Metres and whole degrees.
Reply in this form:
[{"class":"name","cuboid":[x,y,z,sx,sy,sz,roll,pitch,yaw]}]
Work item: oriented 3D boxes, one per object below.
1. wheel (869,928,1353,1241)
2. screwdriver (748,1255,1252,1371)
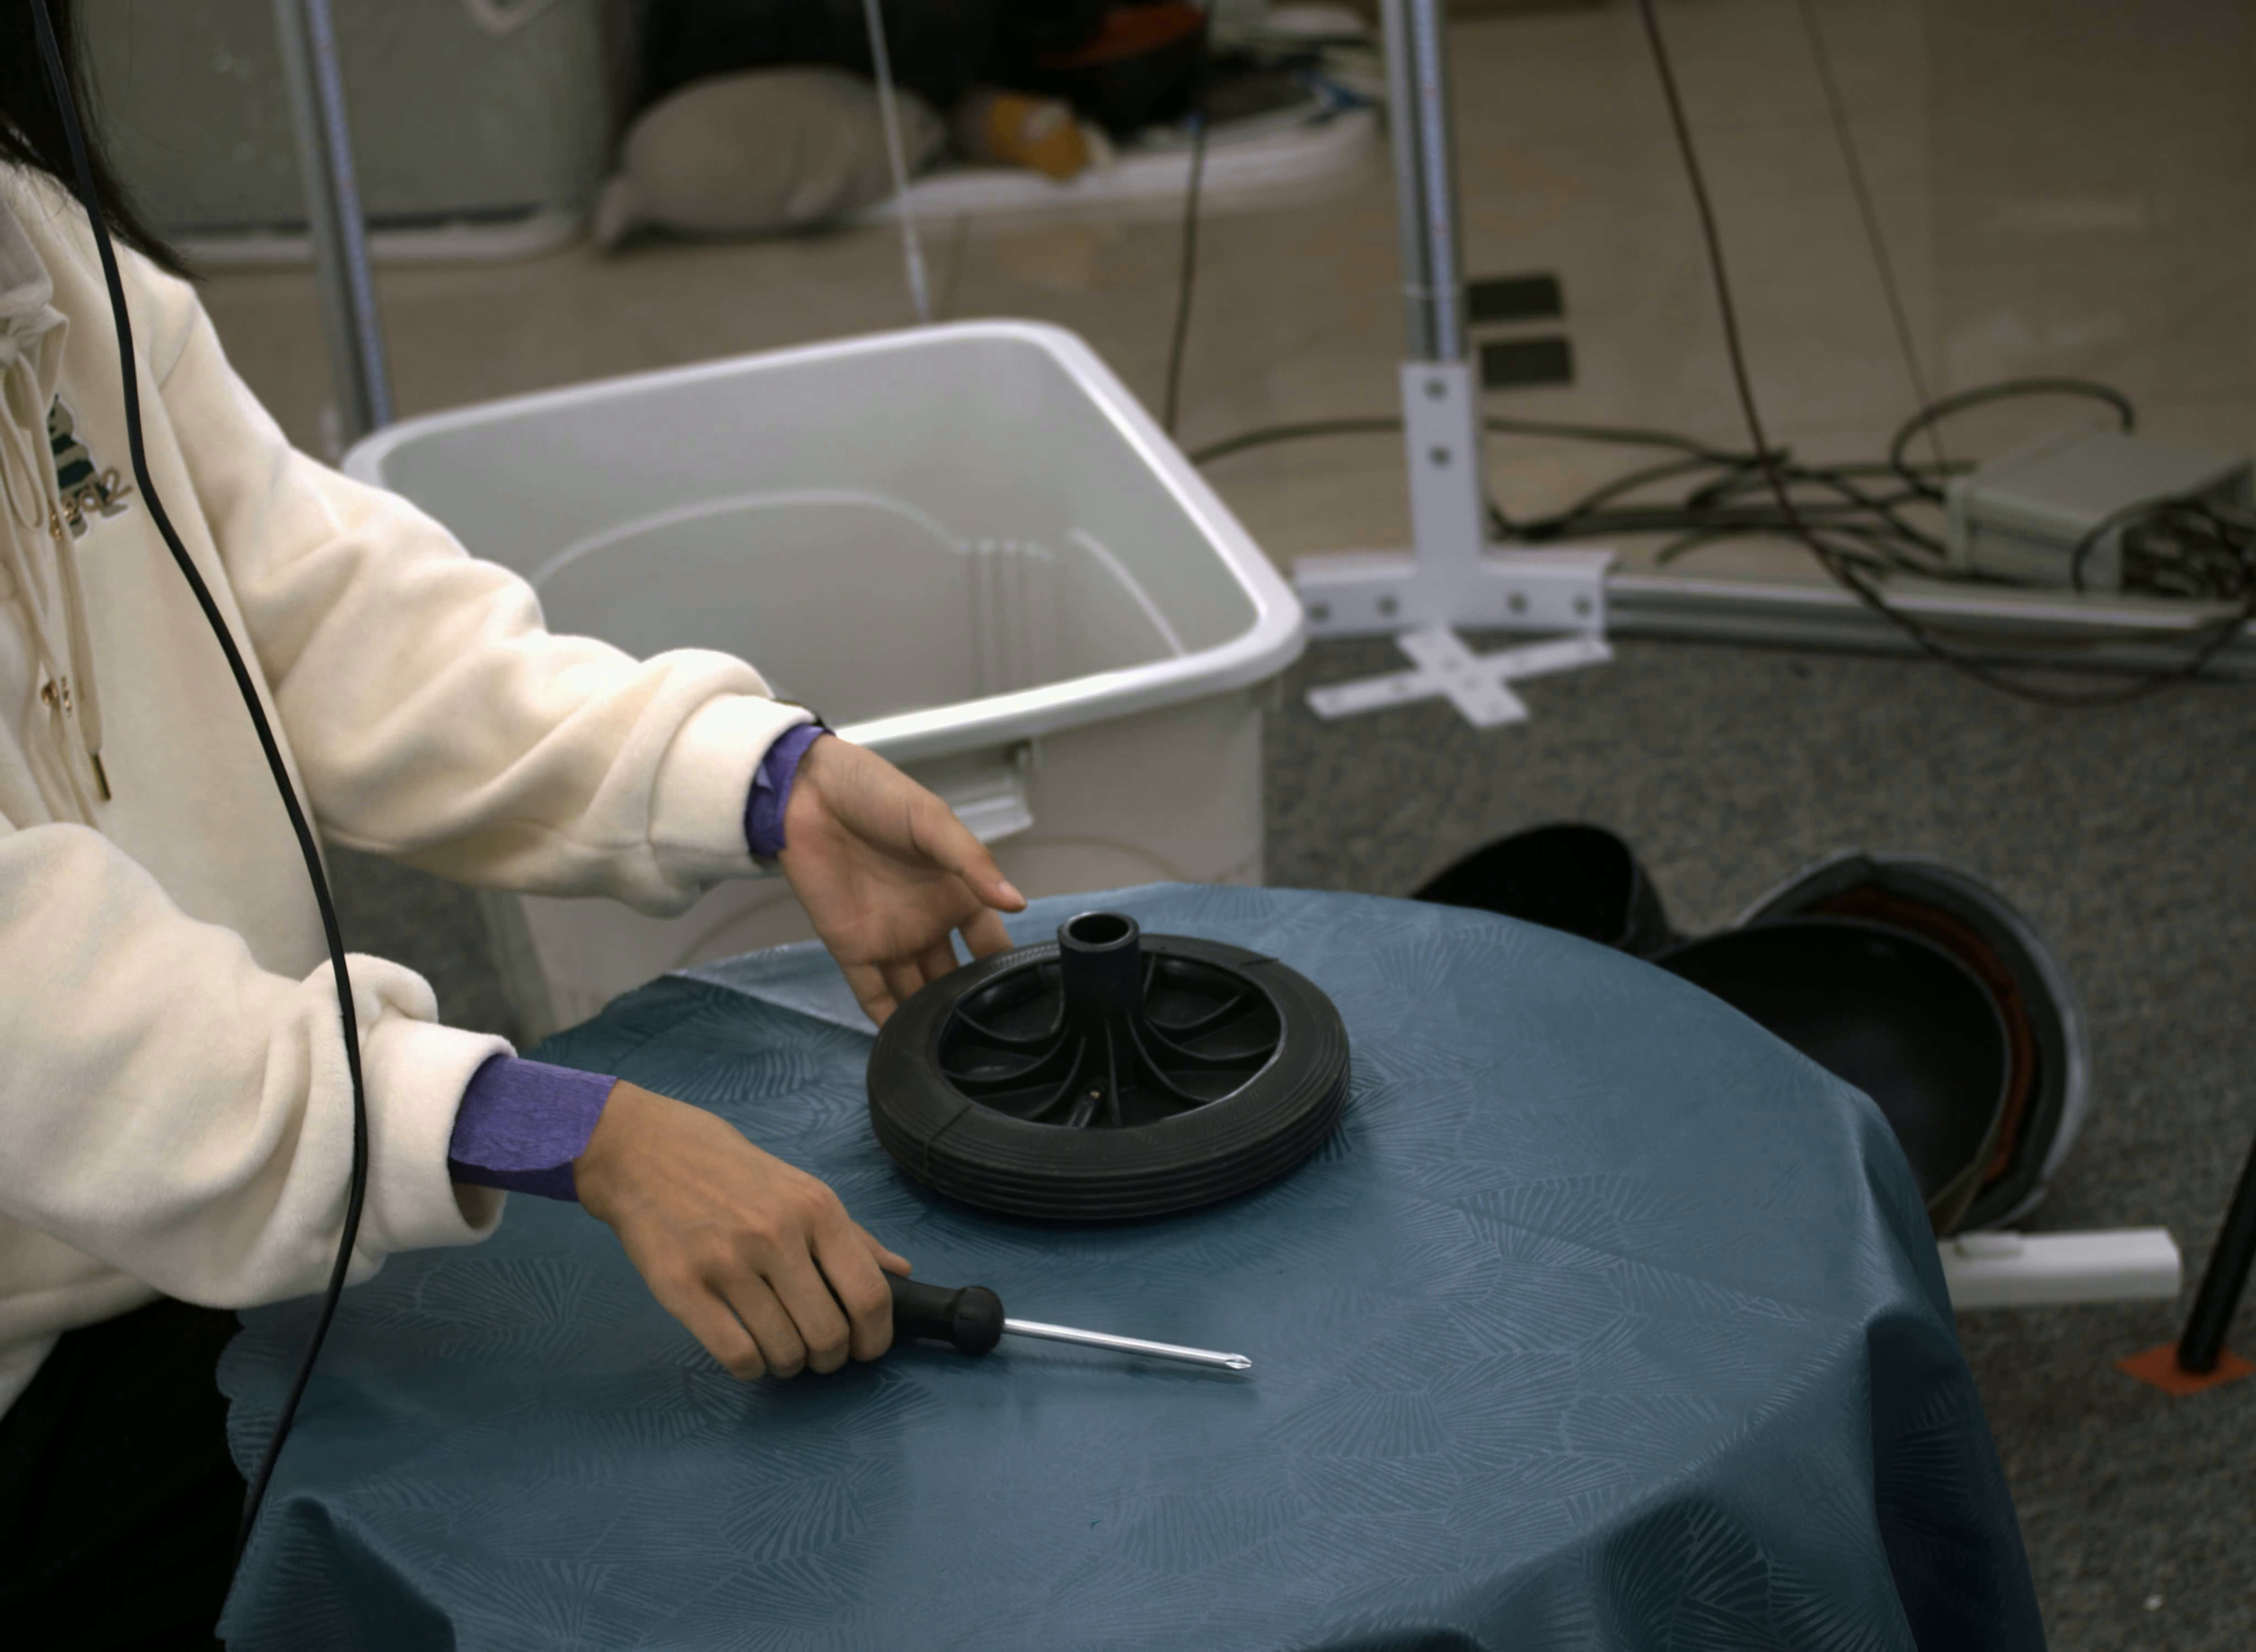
[{"class":"wheel","cuboid":[-0.008,0.081,2.183,0.187,0.080,0.186,-6,32,-5]},{"class":"screwdriver","cuboid":[-0.046,0.177,2.049,0.195,0.032,0.031,5,27,19]}]
